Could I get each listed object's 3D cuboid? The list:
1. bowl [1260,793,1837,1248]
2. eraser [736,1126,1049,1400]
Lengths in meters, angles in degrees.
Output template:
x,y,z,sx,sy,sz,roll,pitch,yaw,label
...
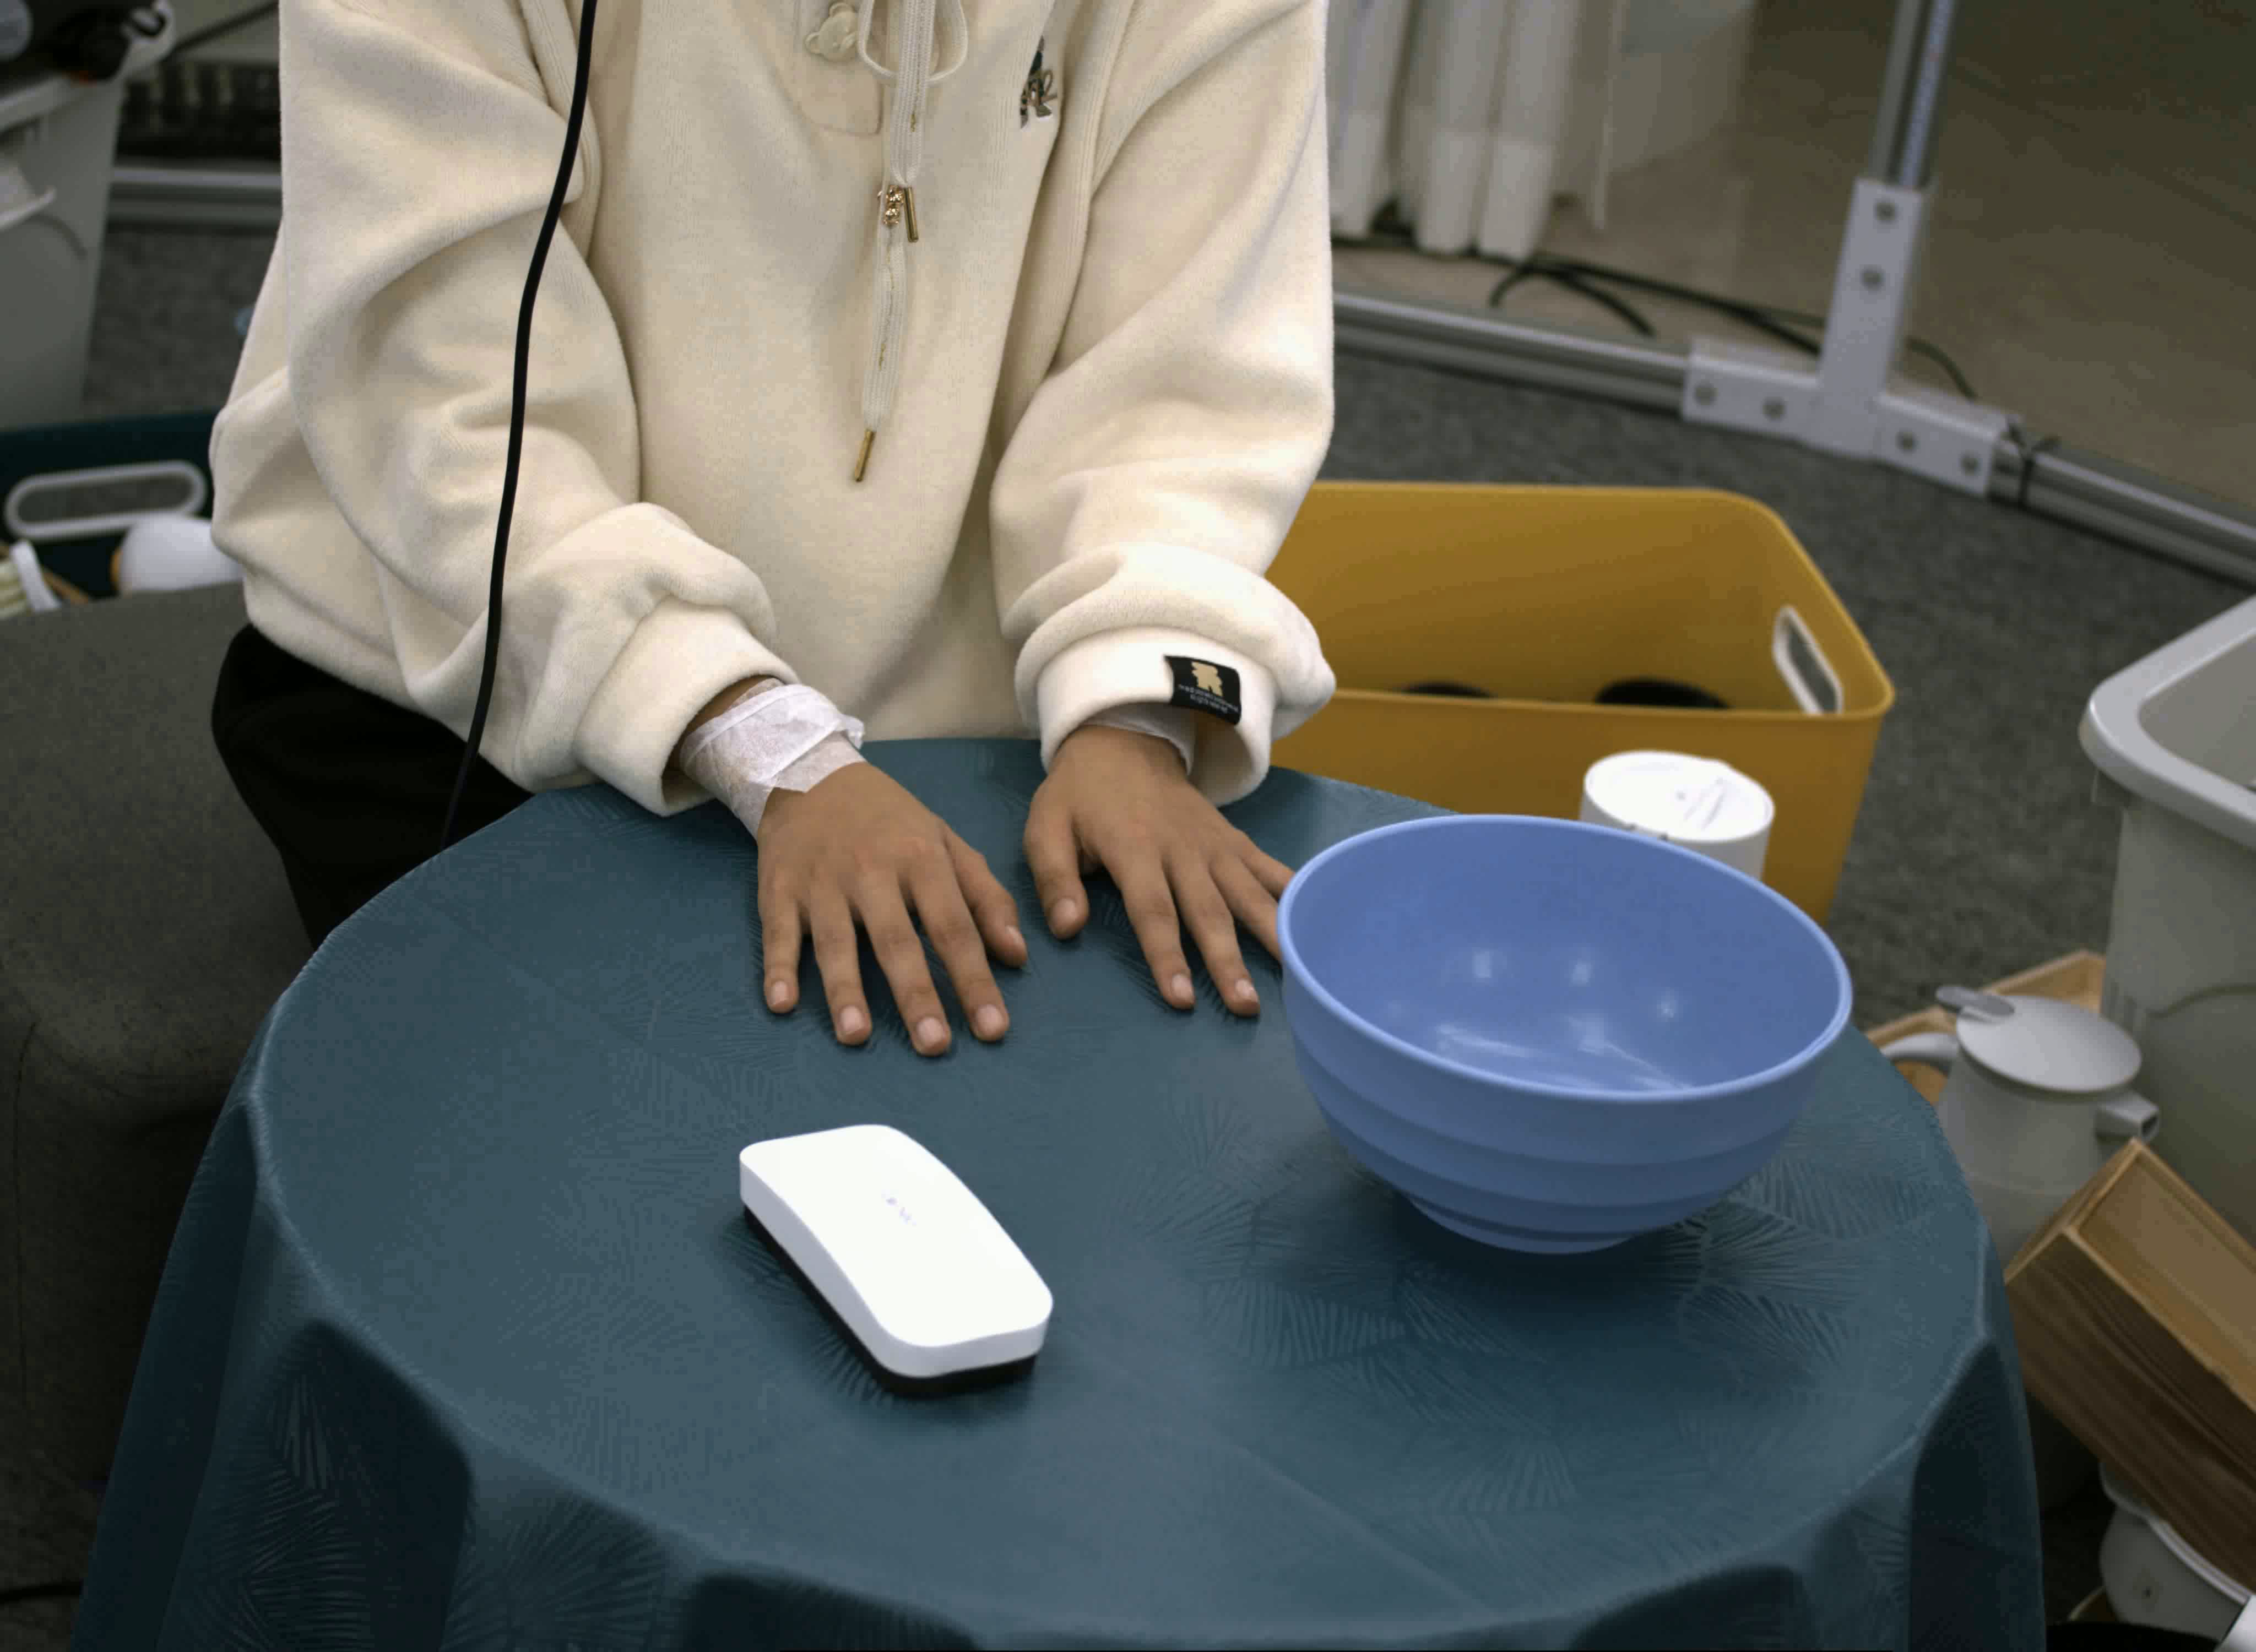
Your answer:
x,y,z,sx,sy,sz,roll,pitch,yaw,label
0.137,0.079,1.818,0.196,0.095,0.198,4,32,-3,bowl
-0.077,0.138,1.724,0.063,0.034,0.132,-7,31,-28,eraser
